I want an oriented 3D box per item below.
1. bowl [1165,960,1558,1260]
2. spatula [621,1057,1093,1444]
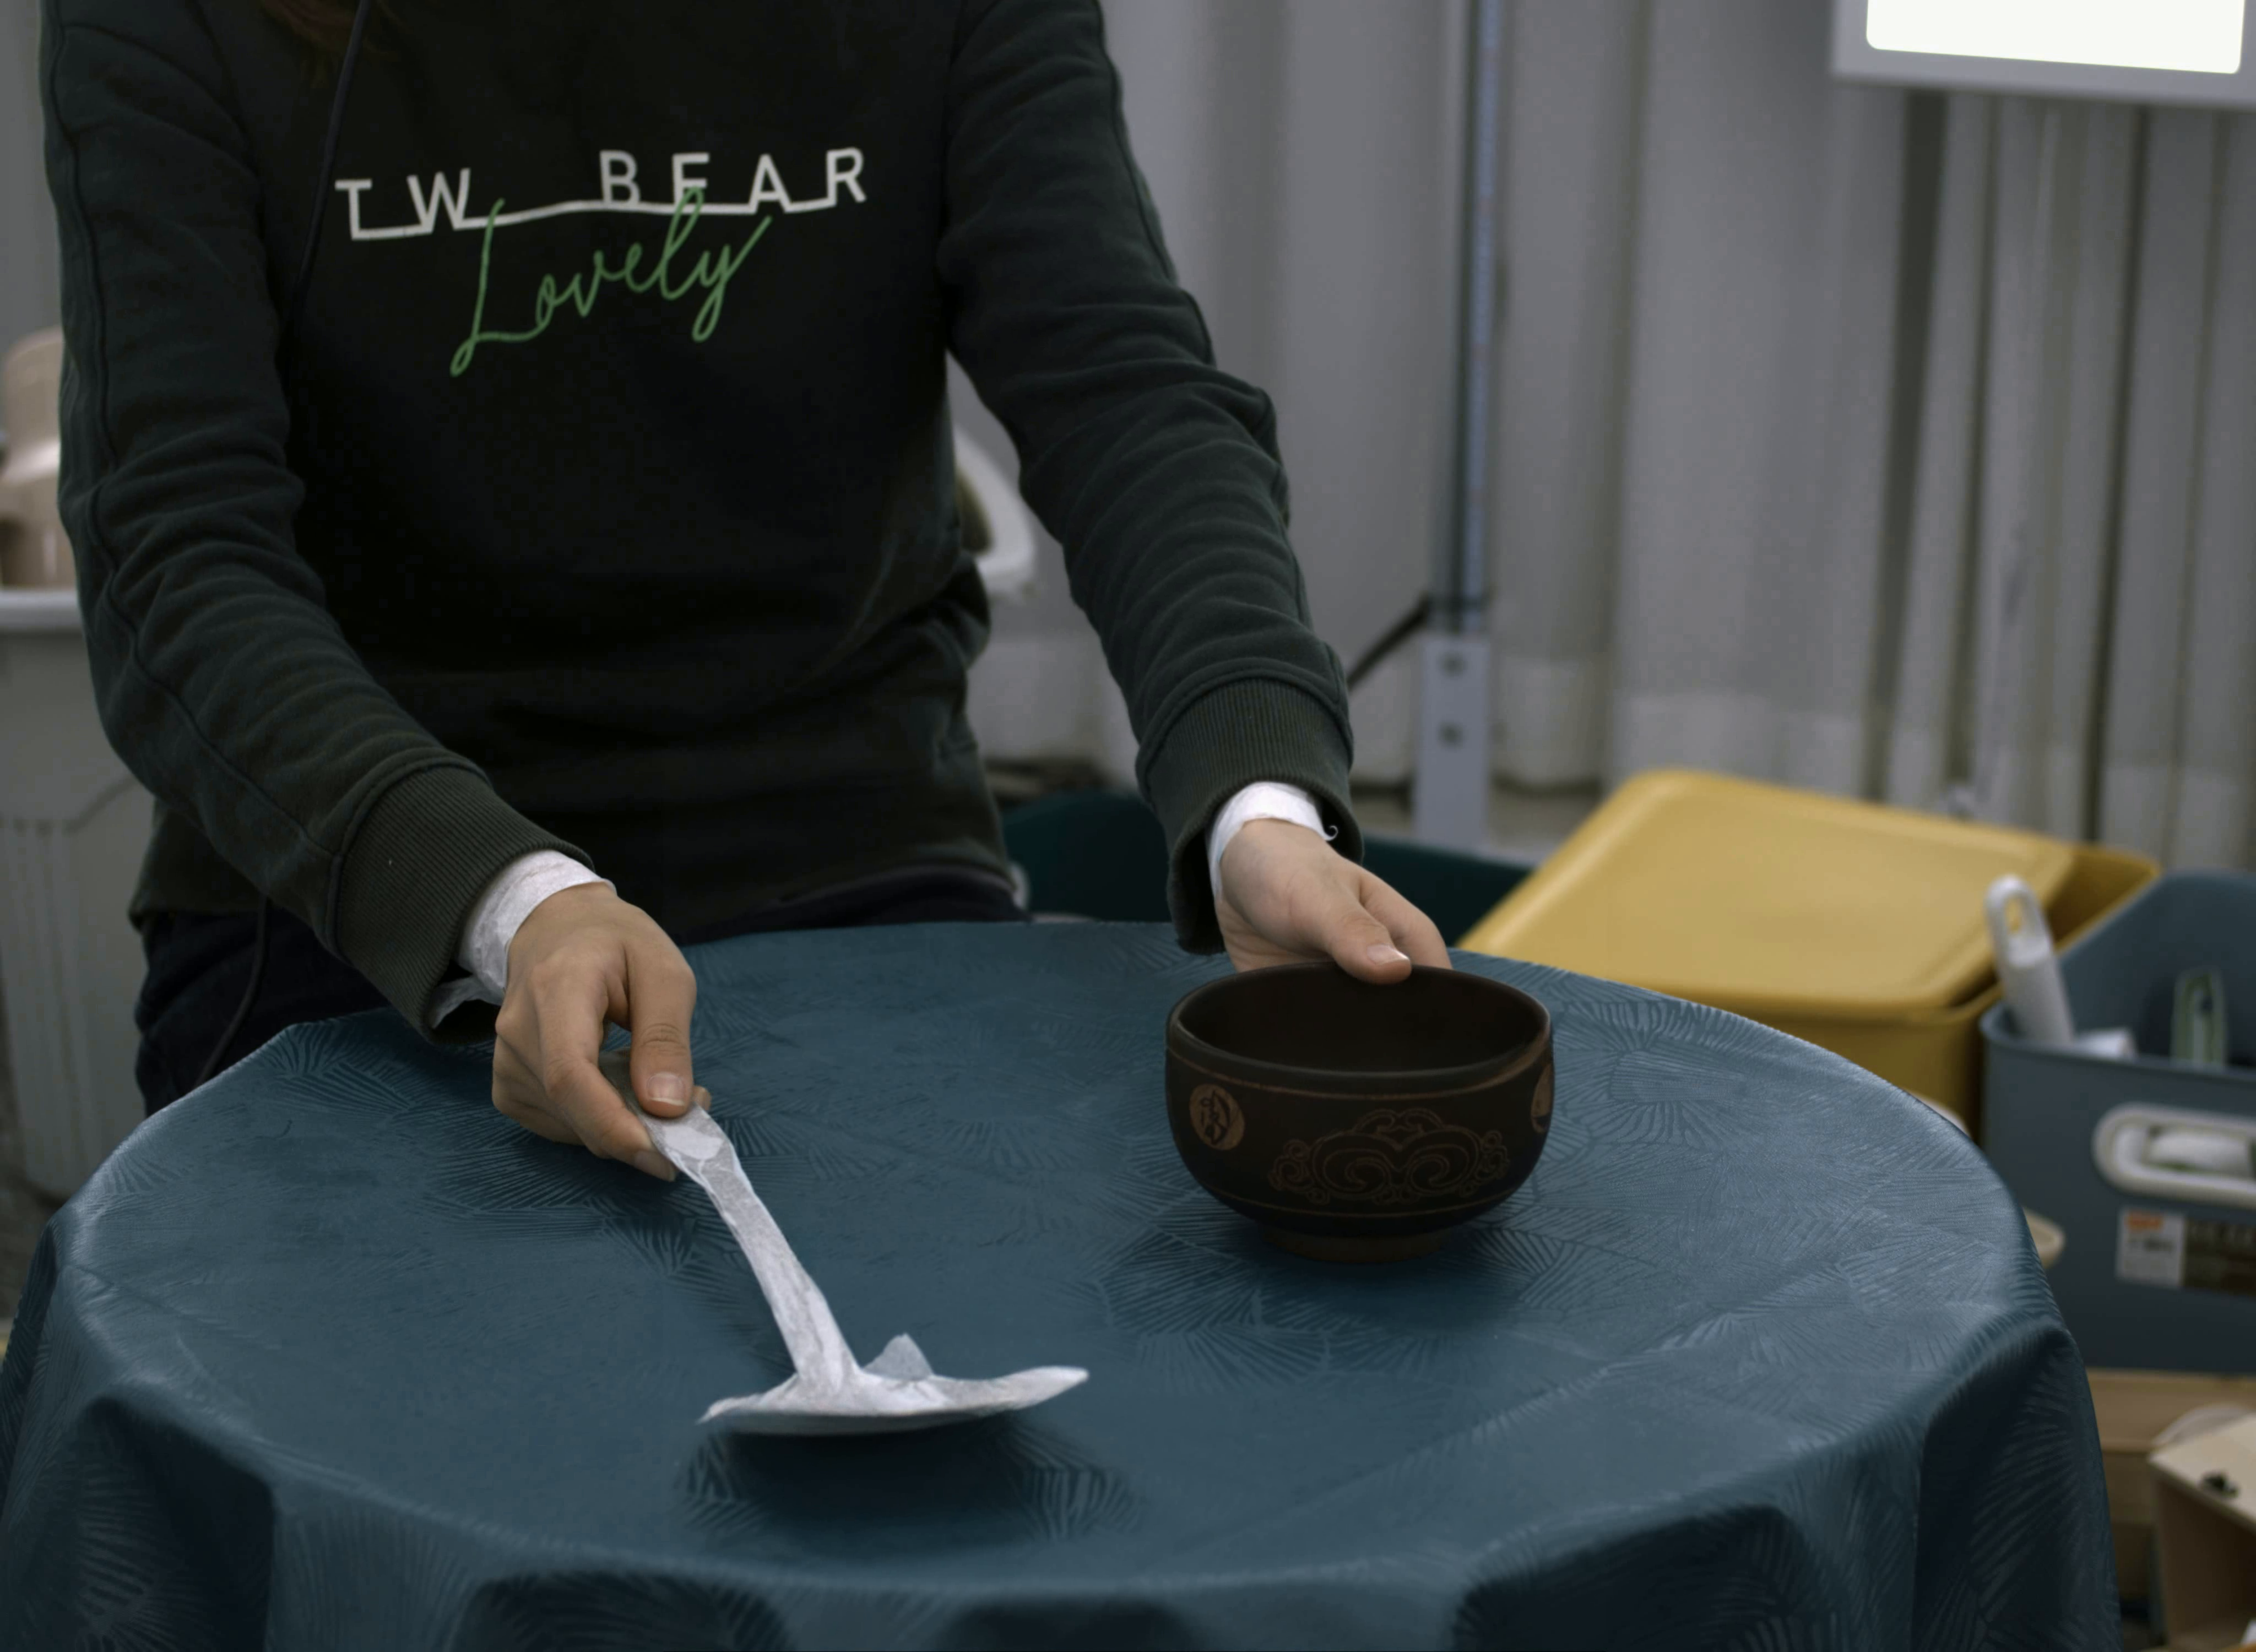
[{"bbox_3d":[0.069,0.089,1.583,0.117,0.070,0.117,2,15,0],"label":"bowl"},{"bbox_3d":[-0.104,0.114,1.528,0.099,0.045,0.361,-5,20,-17],"label":"spatula"}]
